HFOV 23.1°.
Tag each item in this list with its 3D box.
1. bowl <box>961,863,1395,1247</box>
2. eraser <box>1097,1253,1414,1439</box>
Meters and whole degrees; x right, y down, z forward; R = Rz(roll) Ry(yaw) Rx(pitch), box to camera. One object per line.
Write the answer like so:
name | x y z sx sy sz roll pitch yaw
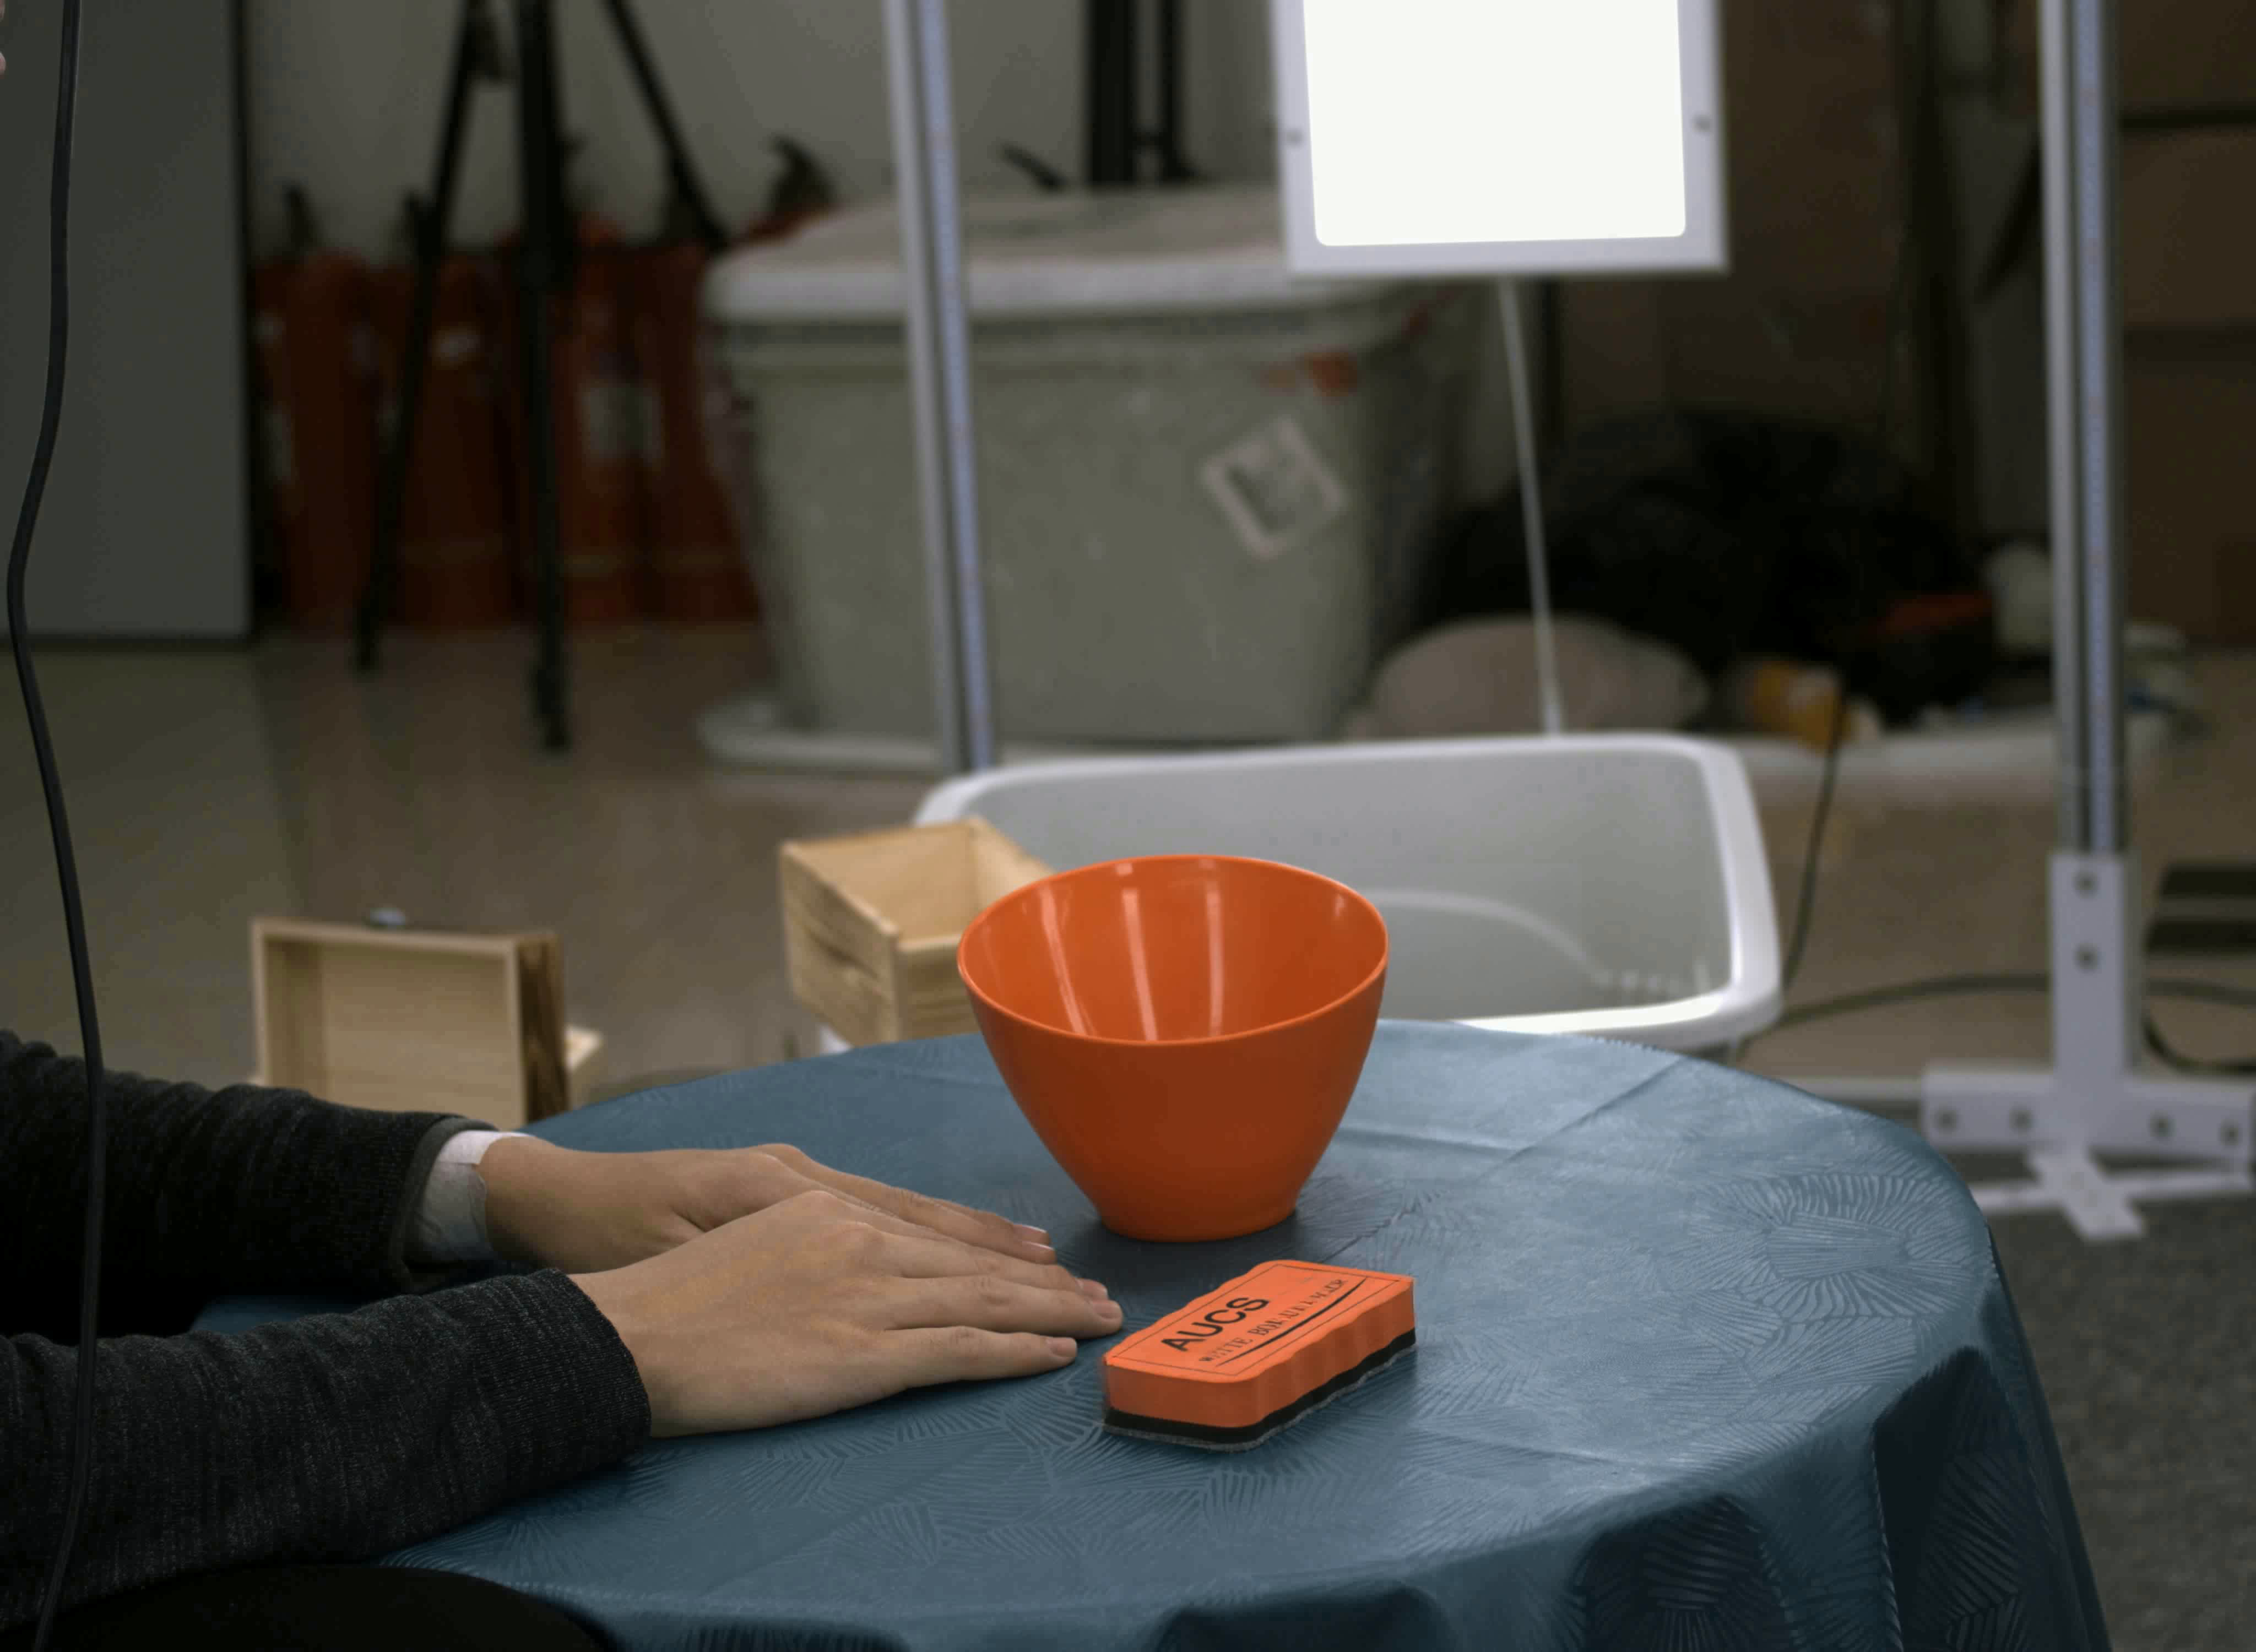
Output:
bowl | 0.020 0.081 1.867 0.147 0.105 0.148 -5 14 0
eraser | 0.040 0.159 1.690 0.060 0.023 0.105 7 16 34
